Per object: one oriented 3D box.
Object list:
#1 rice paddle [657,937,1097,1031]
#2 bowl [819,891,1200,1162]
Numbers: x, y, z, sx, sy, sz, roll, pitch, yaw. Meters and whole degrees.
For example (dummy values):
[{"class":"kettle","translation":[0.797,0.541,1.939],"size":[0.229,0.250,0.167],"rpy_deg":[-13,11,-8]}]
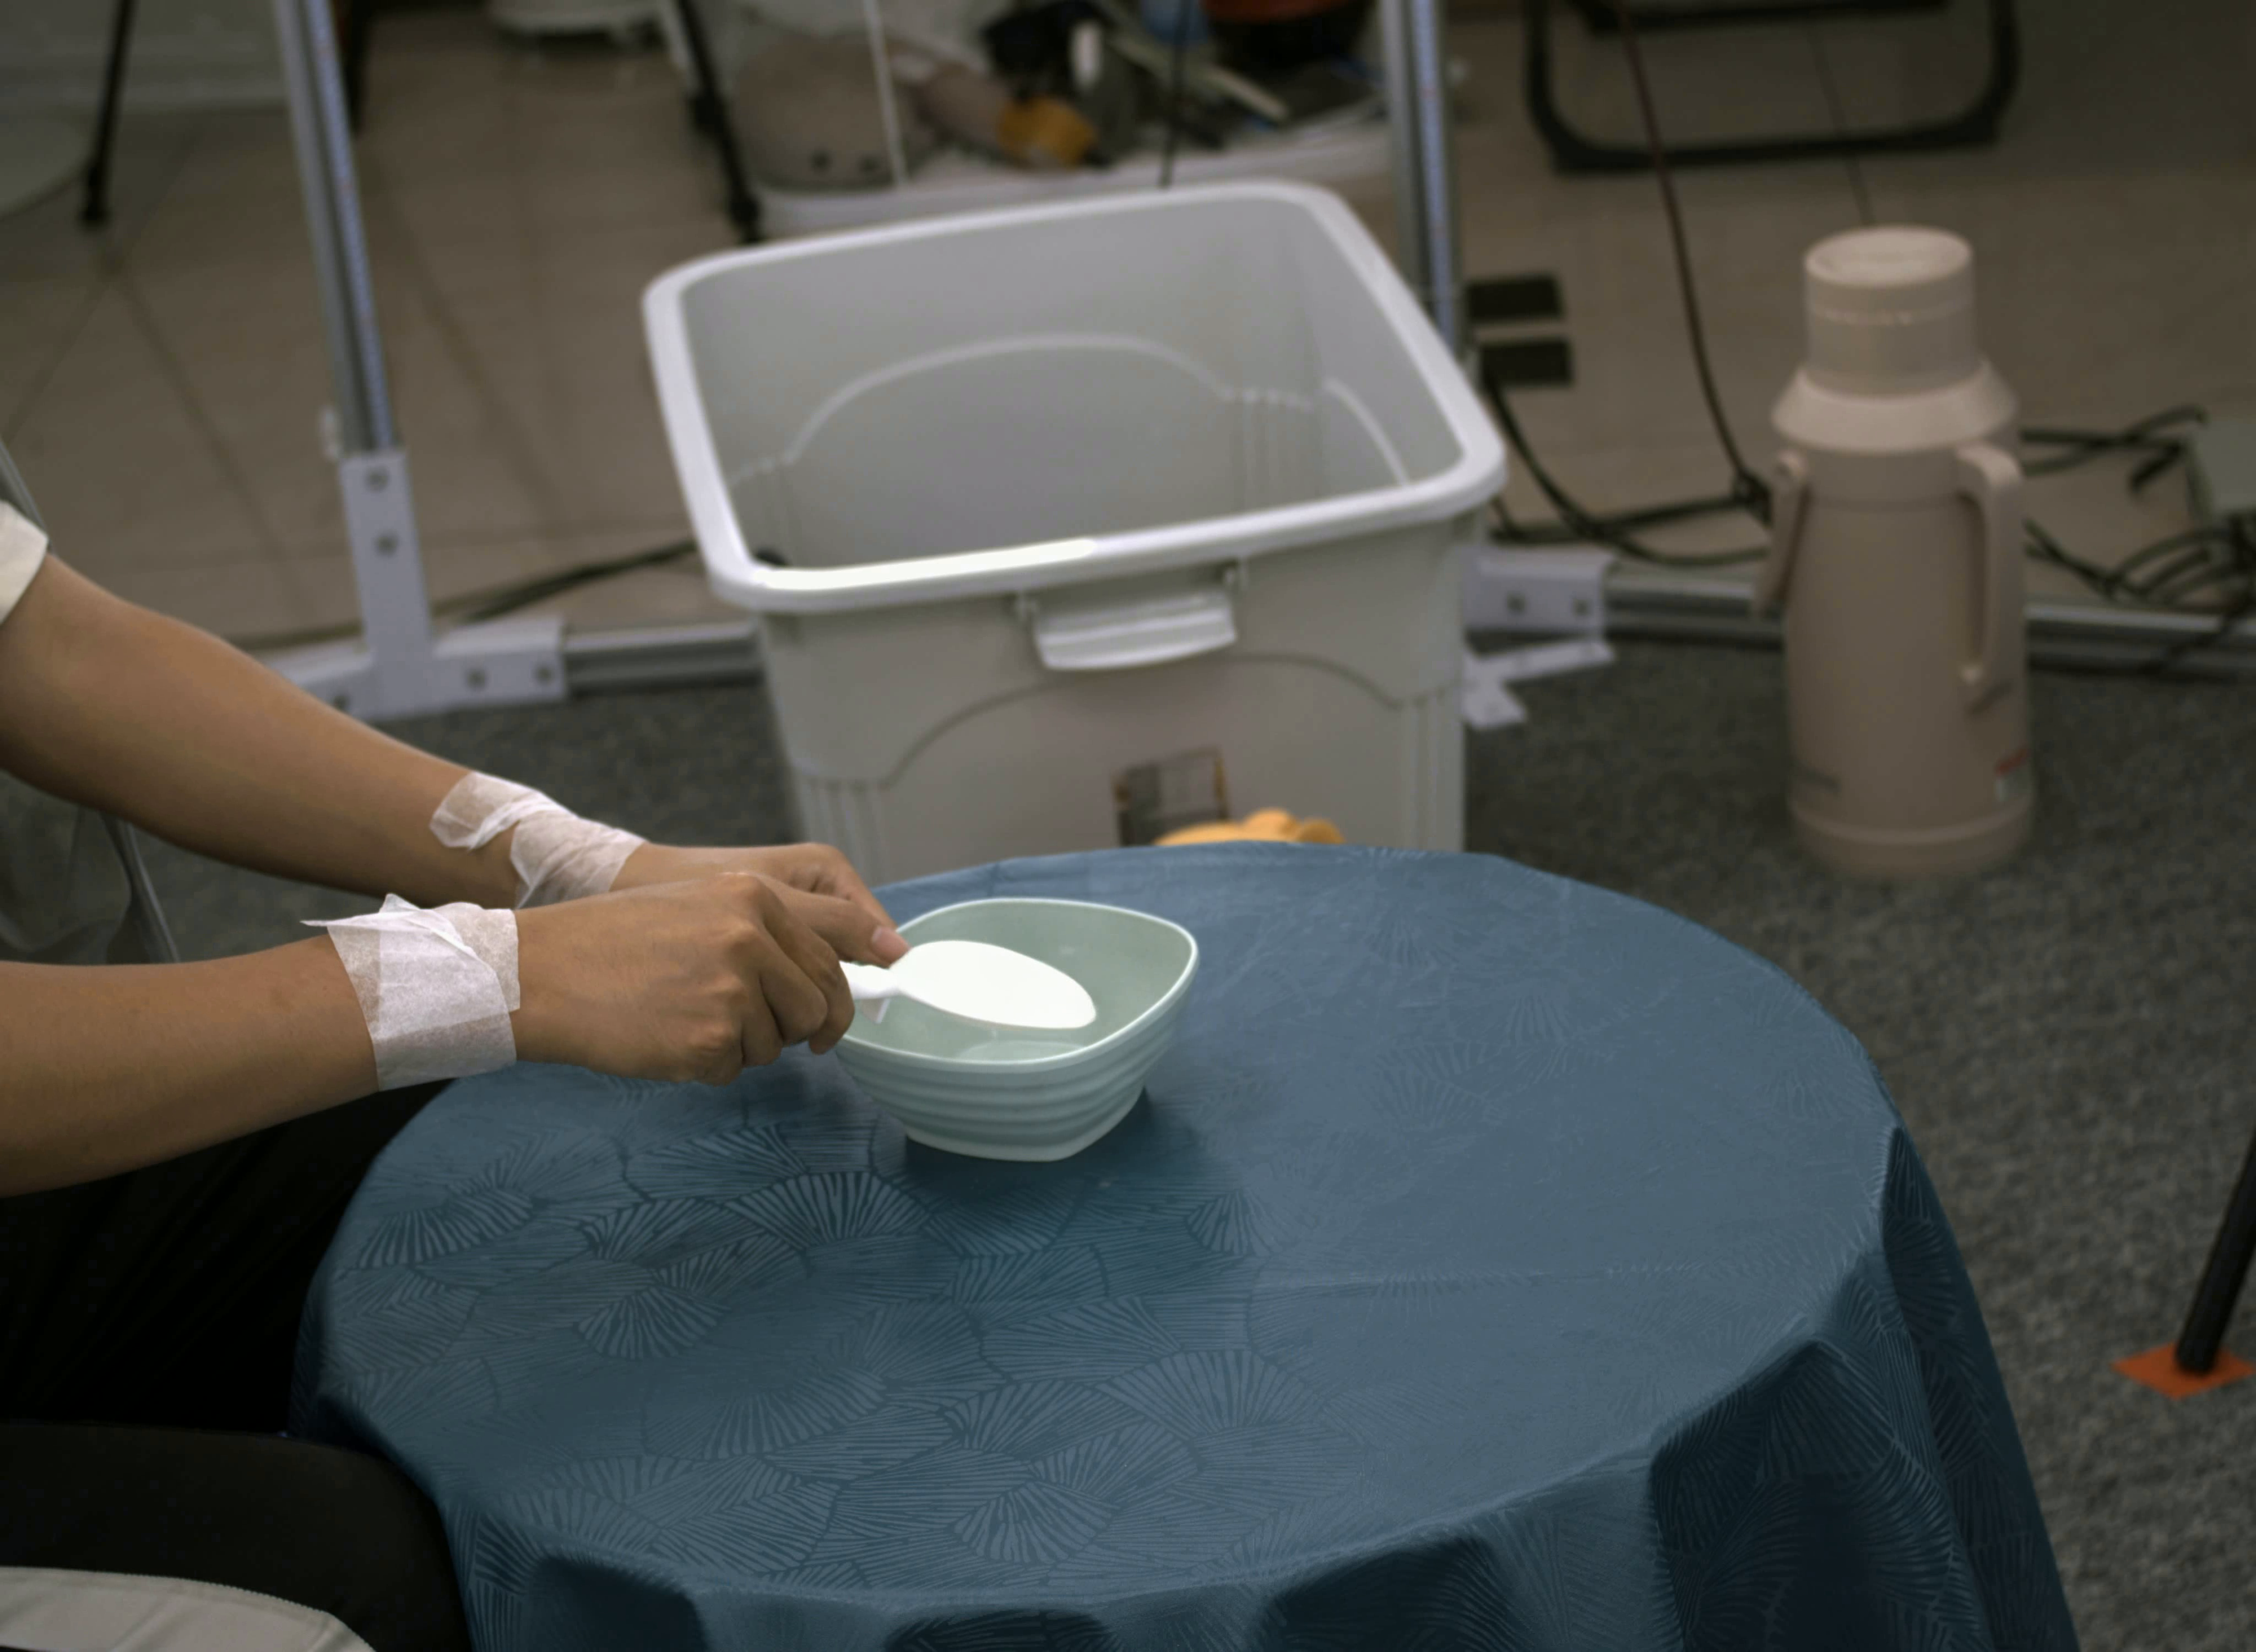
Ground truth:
[{"class":"rice paddle","translation":[-0.090,0.059,2.139],"size":[0.205,0.030,0.068],"rpy_deg":[1,28,-45]},{"class":"bowl","translation":[-0.044,0.084,2.211],"size":[0.151,0.059,0.149],"rpy_deg":[-3,27,2]}]
